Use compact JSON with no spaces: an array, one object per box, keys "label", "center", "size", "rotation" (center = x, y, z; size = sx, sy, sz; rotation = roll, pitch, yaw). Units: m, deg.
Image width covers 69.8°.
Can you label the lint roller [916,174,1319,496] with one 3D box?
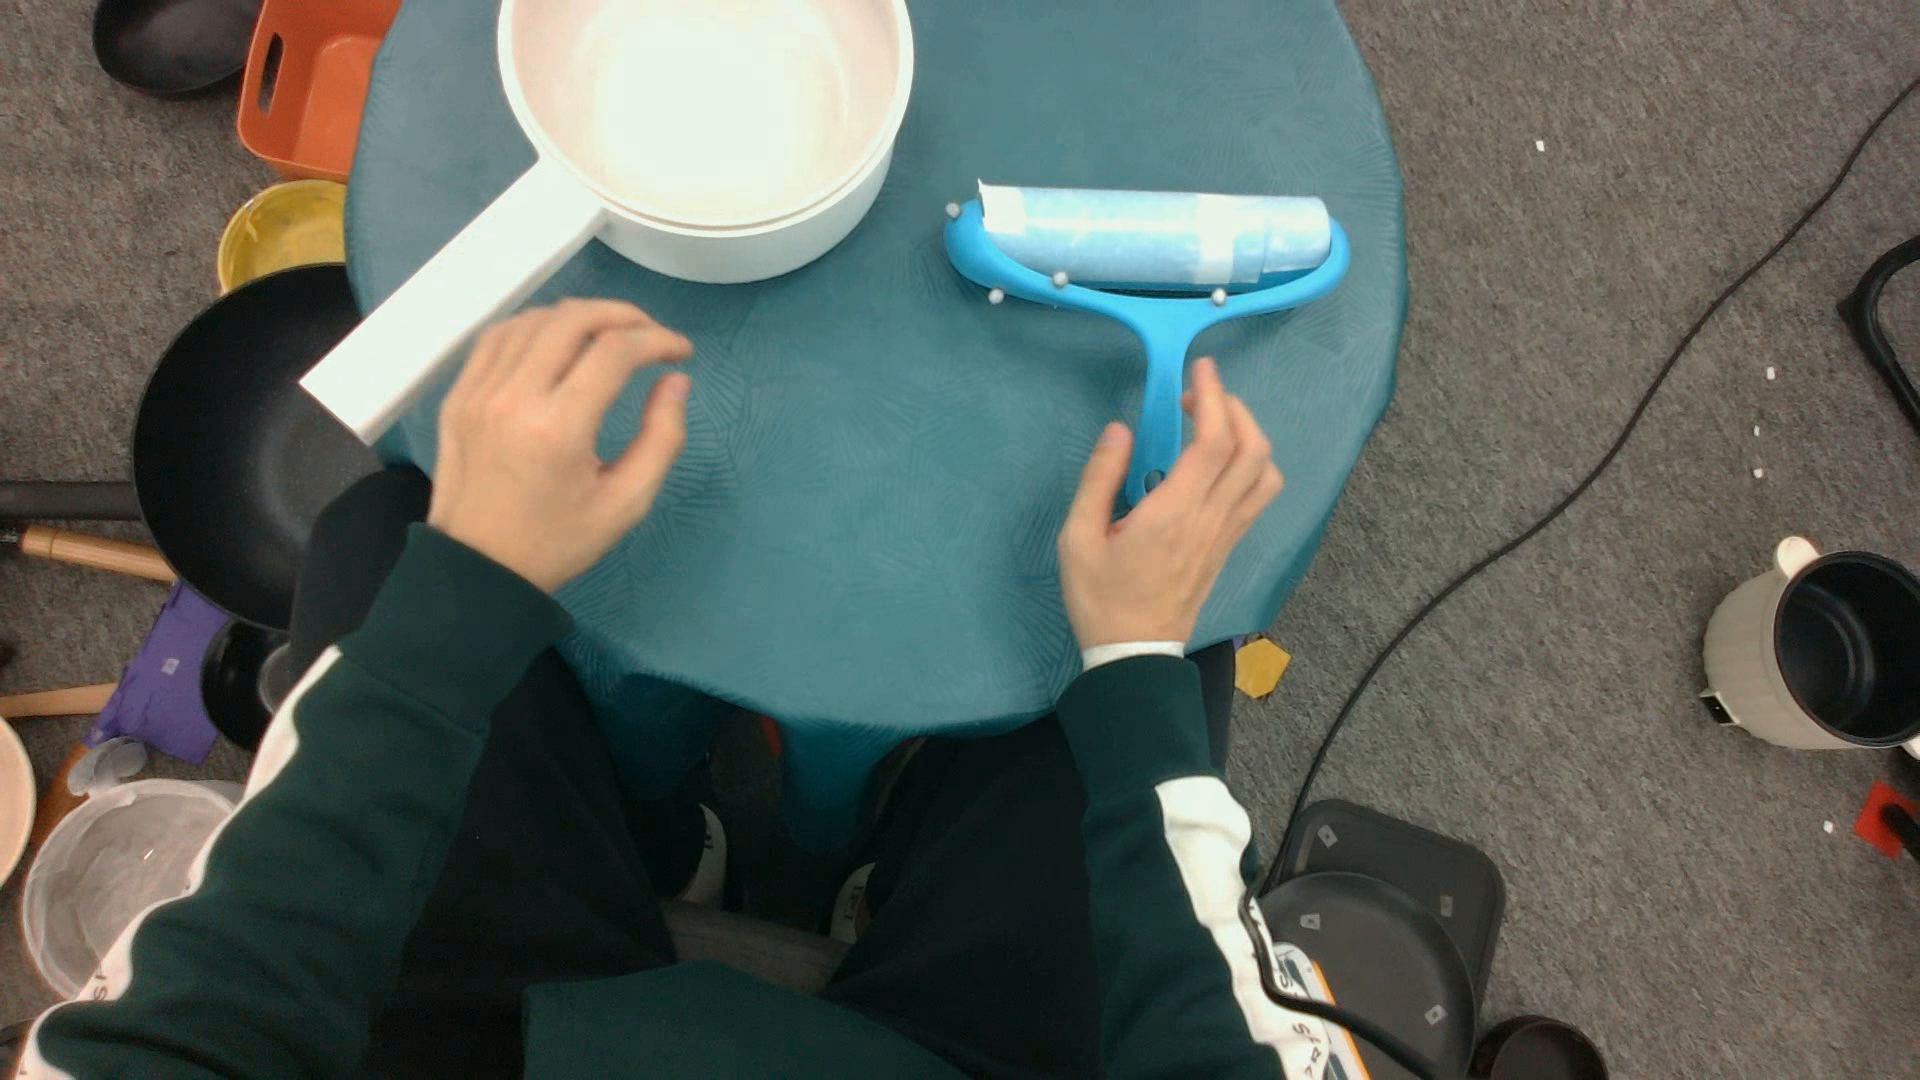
[{"label":"lint roller","center":[0.095,-0.119,0.760],"size":[0.229,0.068,0.180],"rotation":[-3,78,-11]}]

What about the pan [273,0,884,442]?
[{"label":"pan","center":[-0.192,-0.183,0.708],"size":[0.201,0.102,0.355],"rotation":[40,77,0]}]
